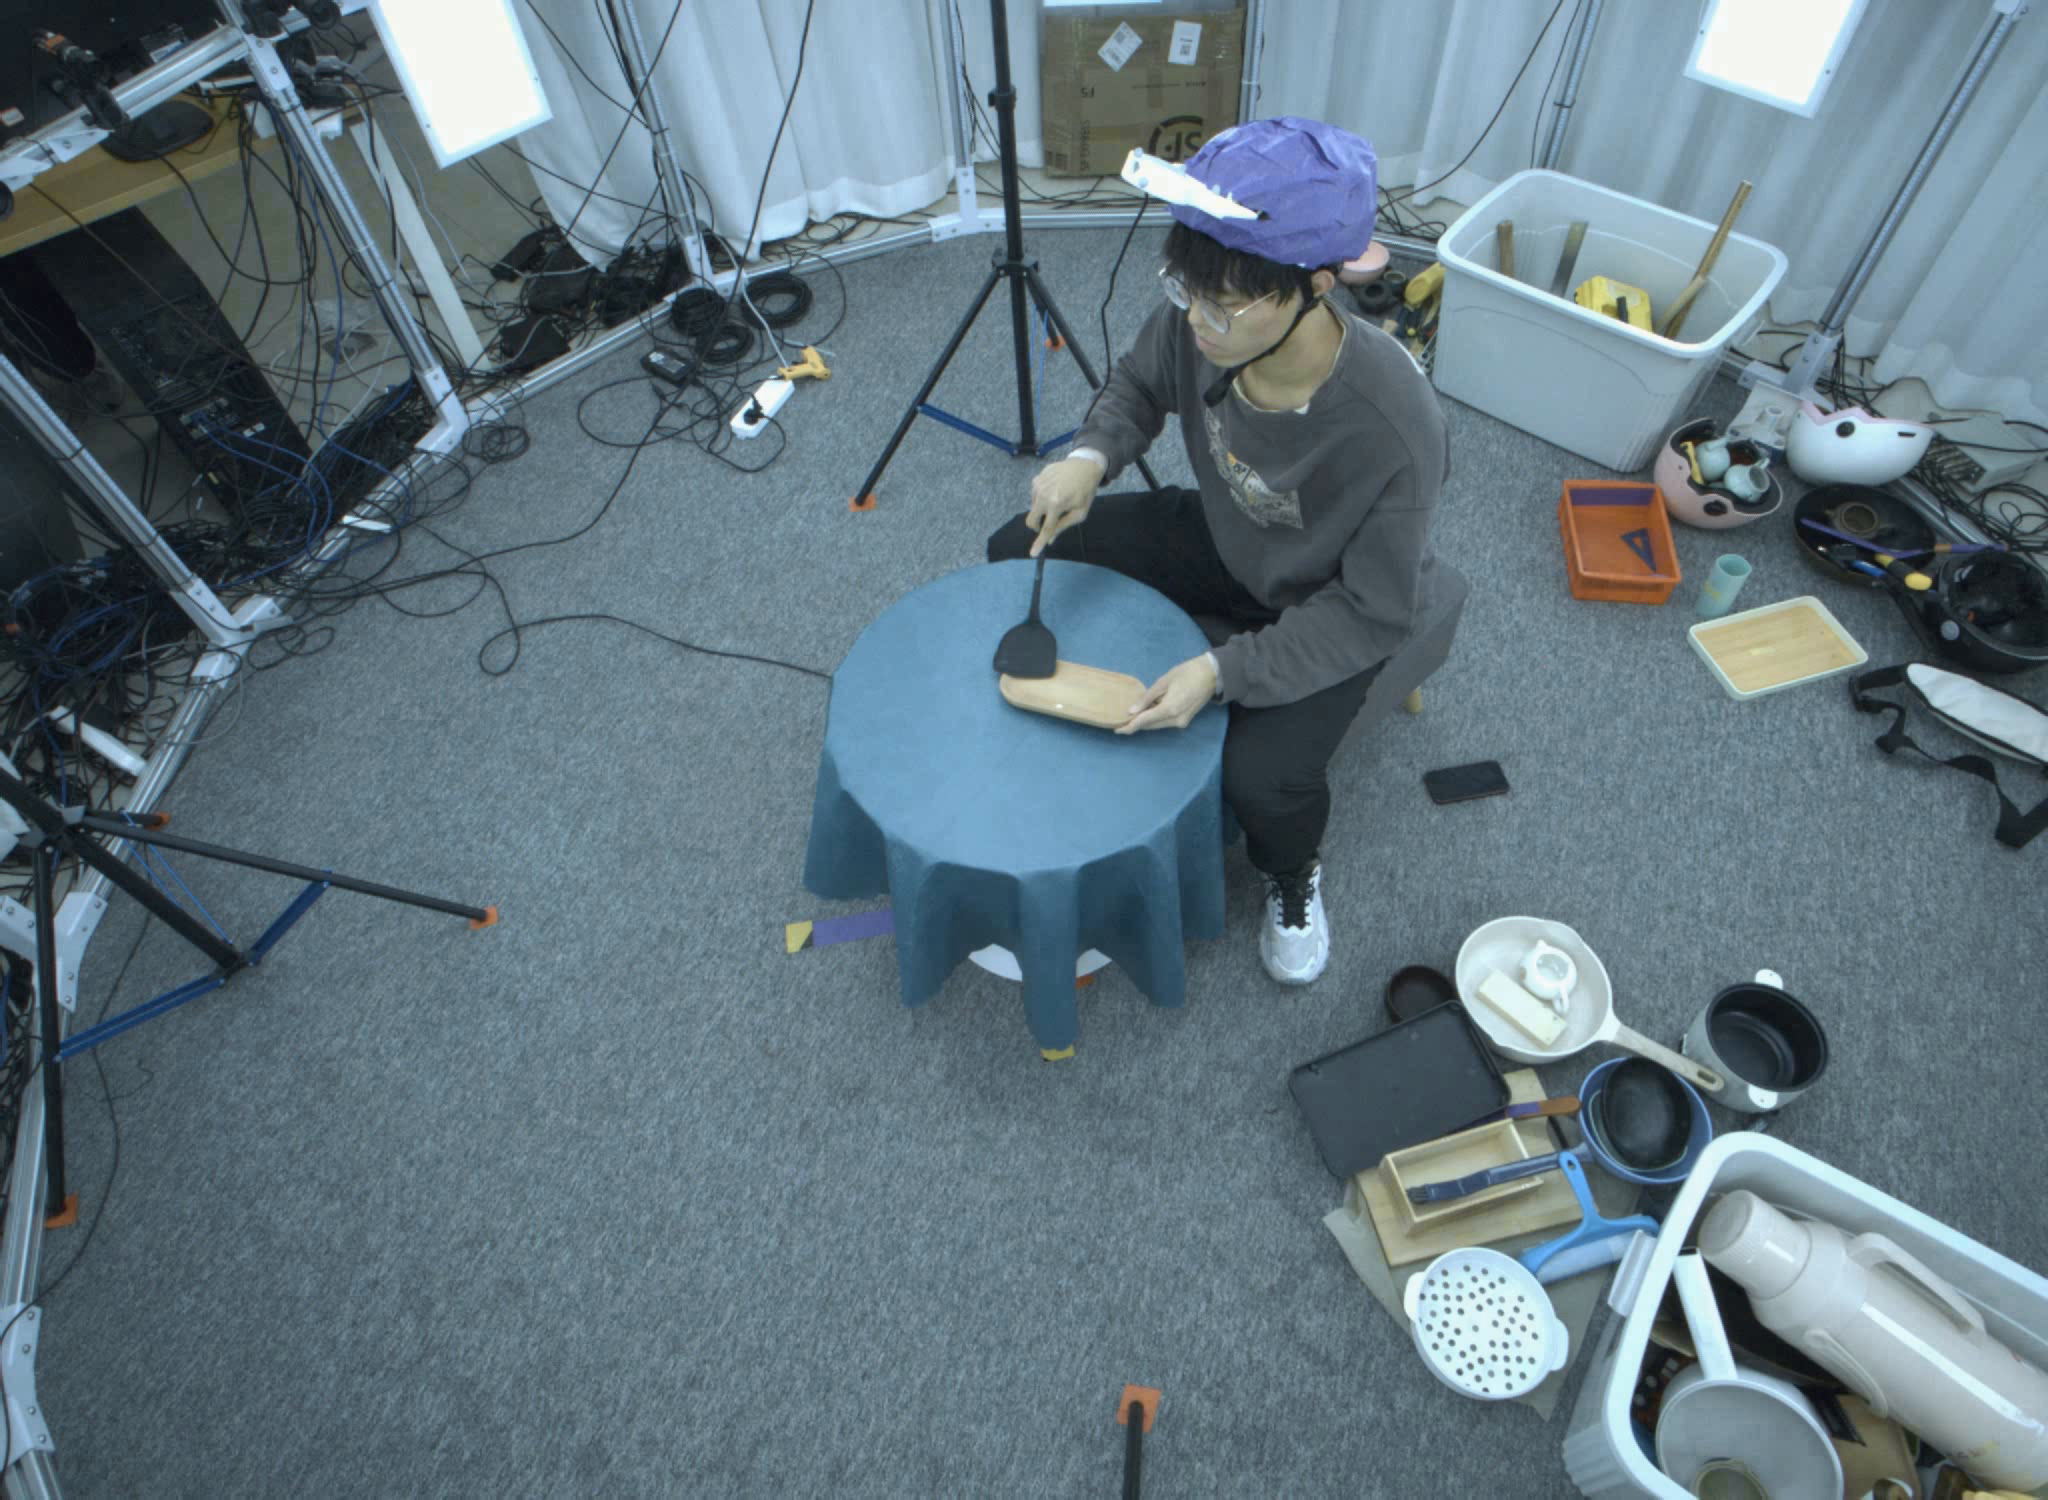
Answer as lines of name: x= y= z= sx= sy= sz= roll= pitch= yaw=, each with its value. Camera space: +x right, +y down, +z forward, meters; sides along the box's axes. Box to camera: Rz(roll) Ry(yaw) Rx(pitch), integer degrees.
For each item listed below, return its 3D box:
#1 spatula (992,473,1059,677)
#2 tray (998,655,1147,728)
spatula: x=0.021 y=-0.270 z=1.872 sx=0.099 sy=0.040 sz=0.326 roll=7 pitch=88 yaw=7
tray: x=0.070 y=-0.086 z=1.820 sx=0.228 sy=0.020 sz=0.102 roll=14 pitch=51 yaw=21
